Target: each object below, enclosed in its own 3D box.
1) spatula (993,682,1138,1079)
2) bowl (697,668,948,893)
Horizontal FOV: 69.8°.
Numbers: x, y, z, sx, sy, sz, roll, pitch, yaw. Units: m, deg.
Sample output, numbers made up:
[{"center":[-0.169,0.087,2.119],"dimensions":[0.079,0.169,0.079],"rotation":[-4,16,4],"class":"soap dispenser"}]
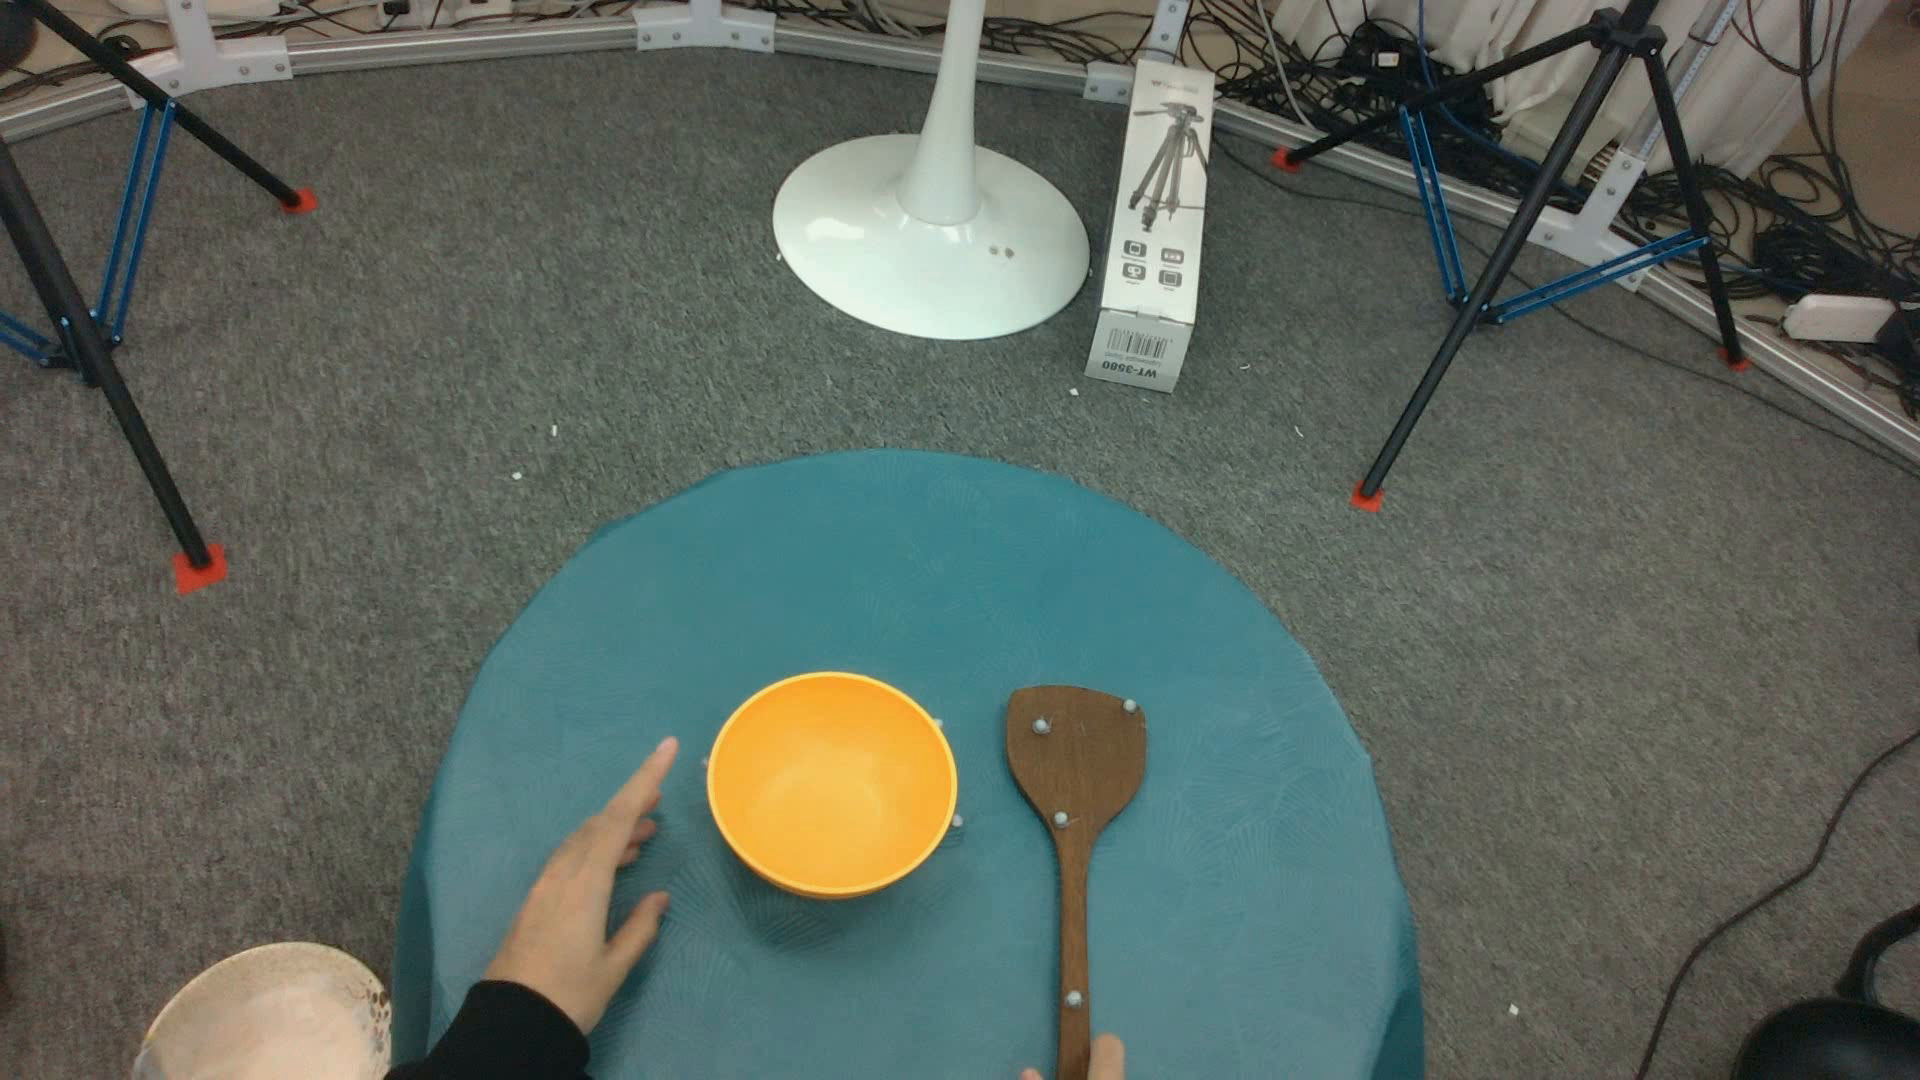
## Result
[{"center":[0.060,0.244,0.796],"dimensions":[0.096,0.015,0.388],"rotation":[8,49,-5],"class":"spatula"},{"center":[-0.082,0.151,0.819],"dimensions":[0.145,0.060,0.146],"rotation":[4,51,-5],"class":"bowl"}]
